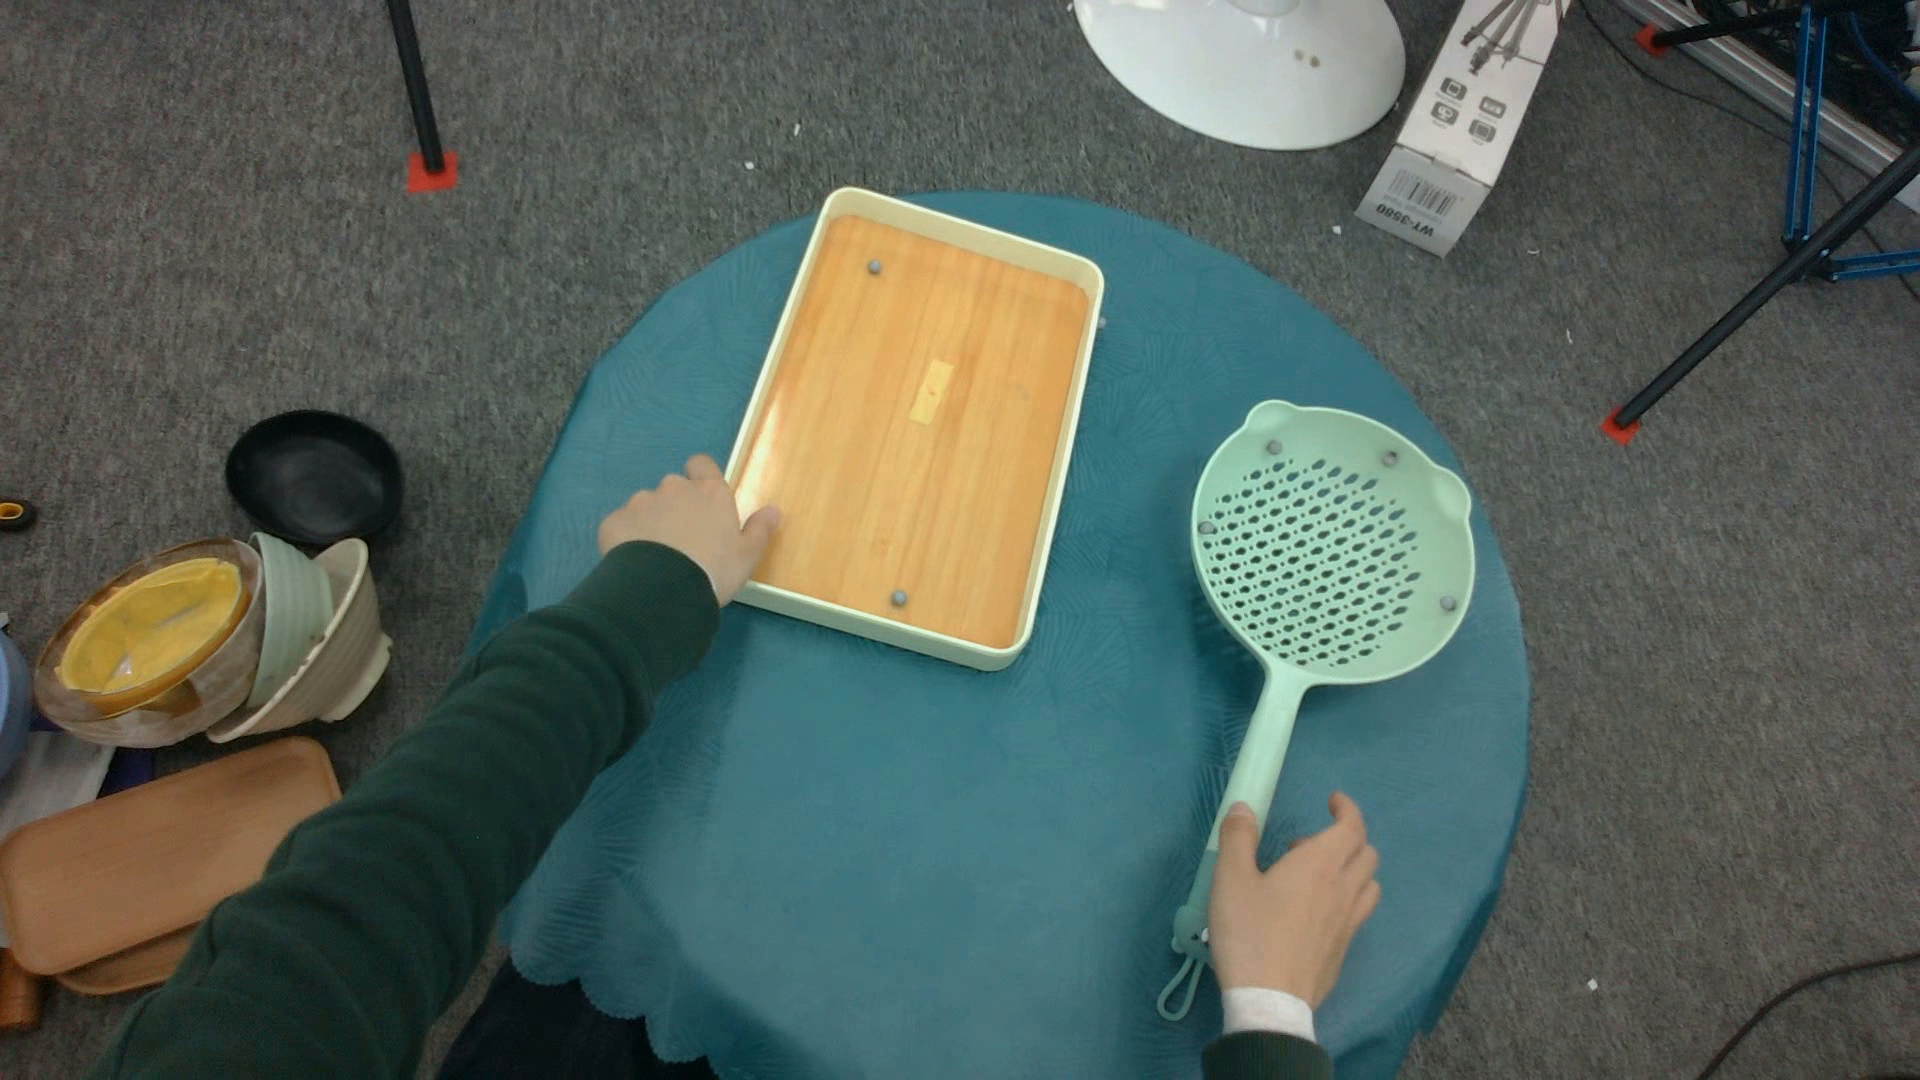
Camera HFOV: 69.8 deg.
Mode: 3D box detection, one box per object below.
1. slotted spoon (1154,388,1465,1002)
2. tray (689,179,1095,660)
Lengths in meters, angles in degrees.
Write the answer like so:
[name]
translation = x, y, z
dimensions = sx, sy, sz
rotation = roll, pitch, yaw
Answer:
[slotted spoon]
translation = 0.175, 0.079, 0.768
dimensions = 0.169, 0.075, 0.360
rotation = 23, 59, 1
[tray]
translation = -0.032, -0.083, 0.833
dimensions = 0.191, 0.027, 0.301
rotation = 16, 59, -4
